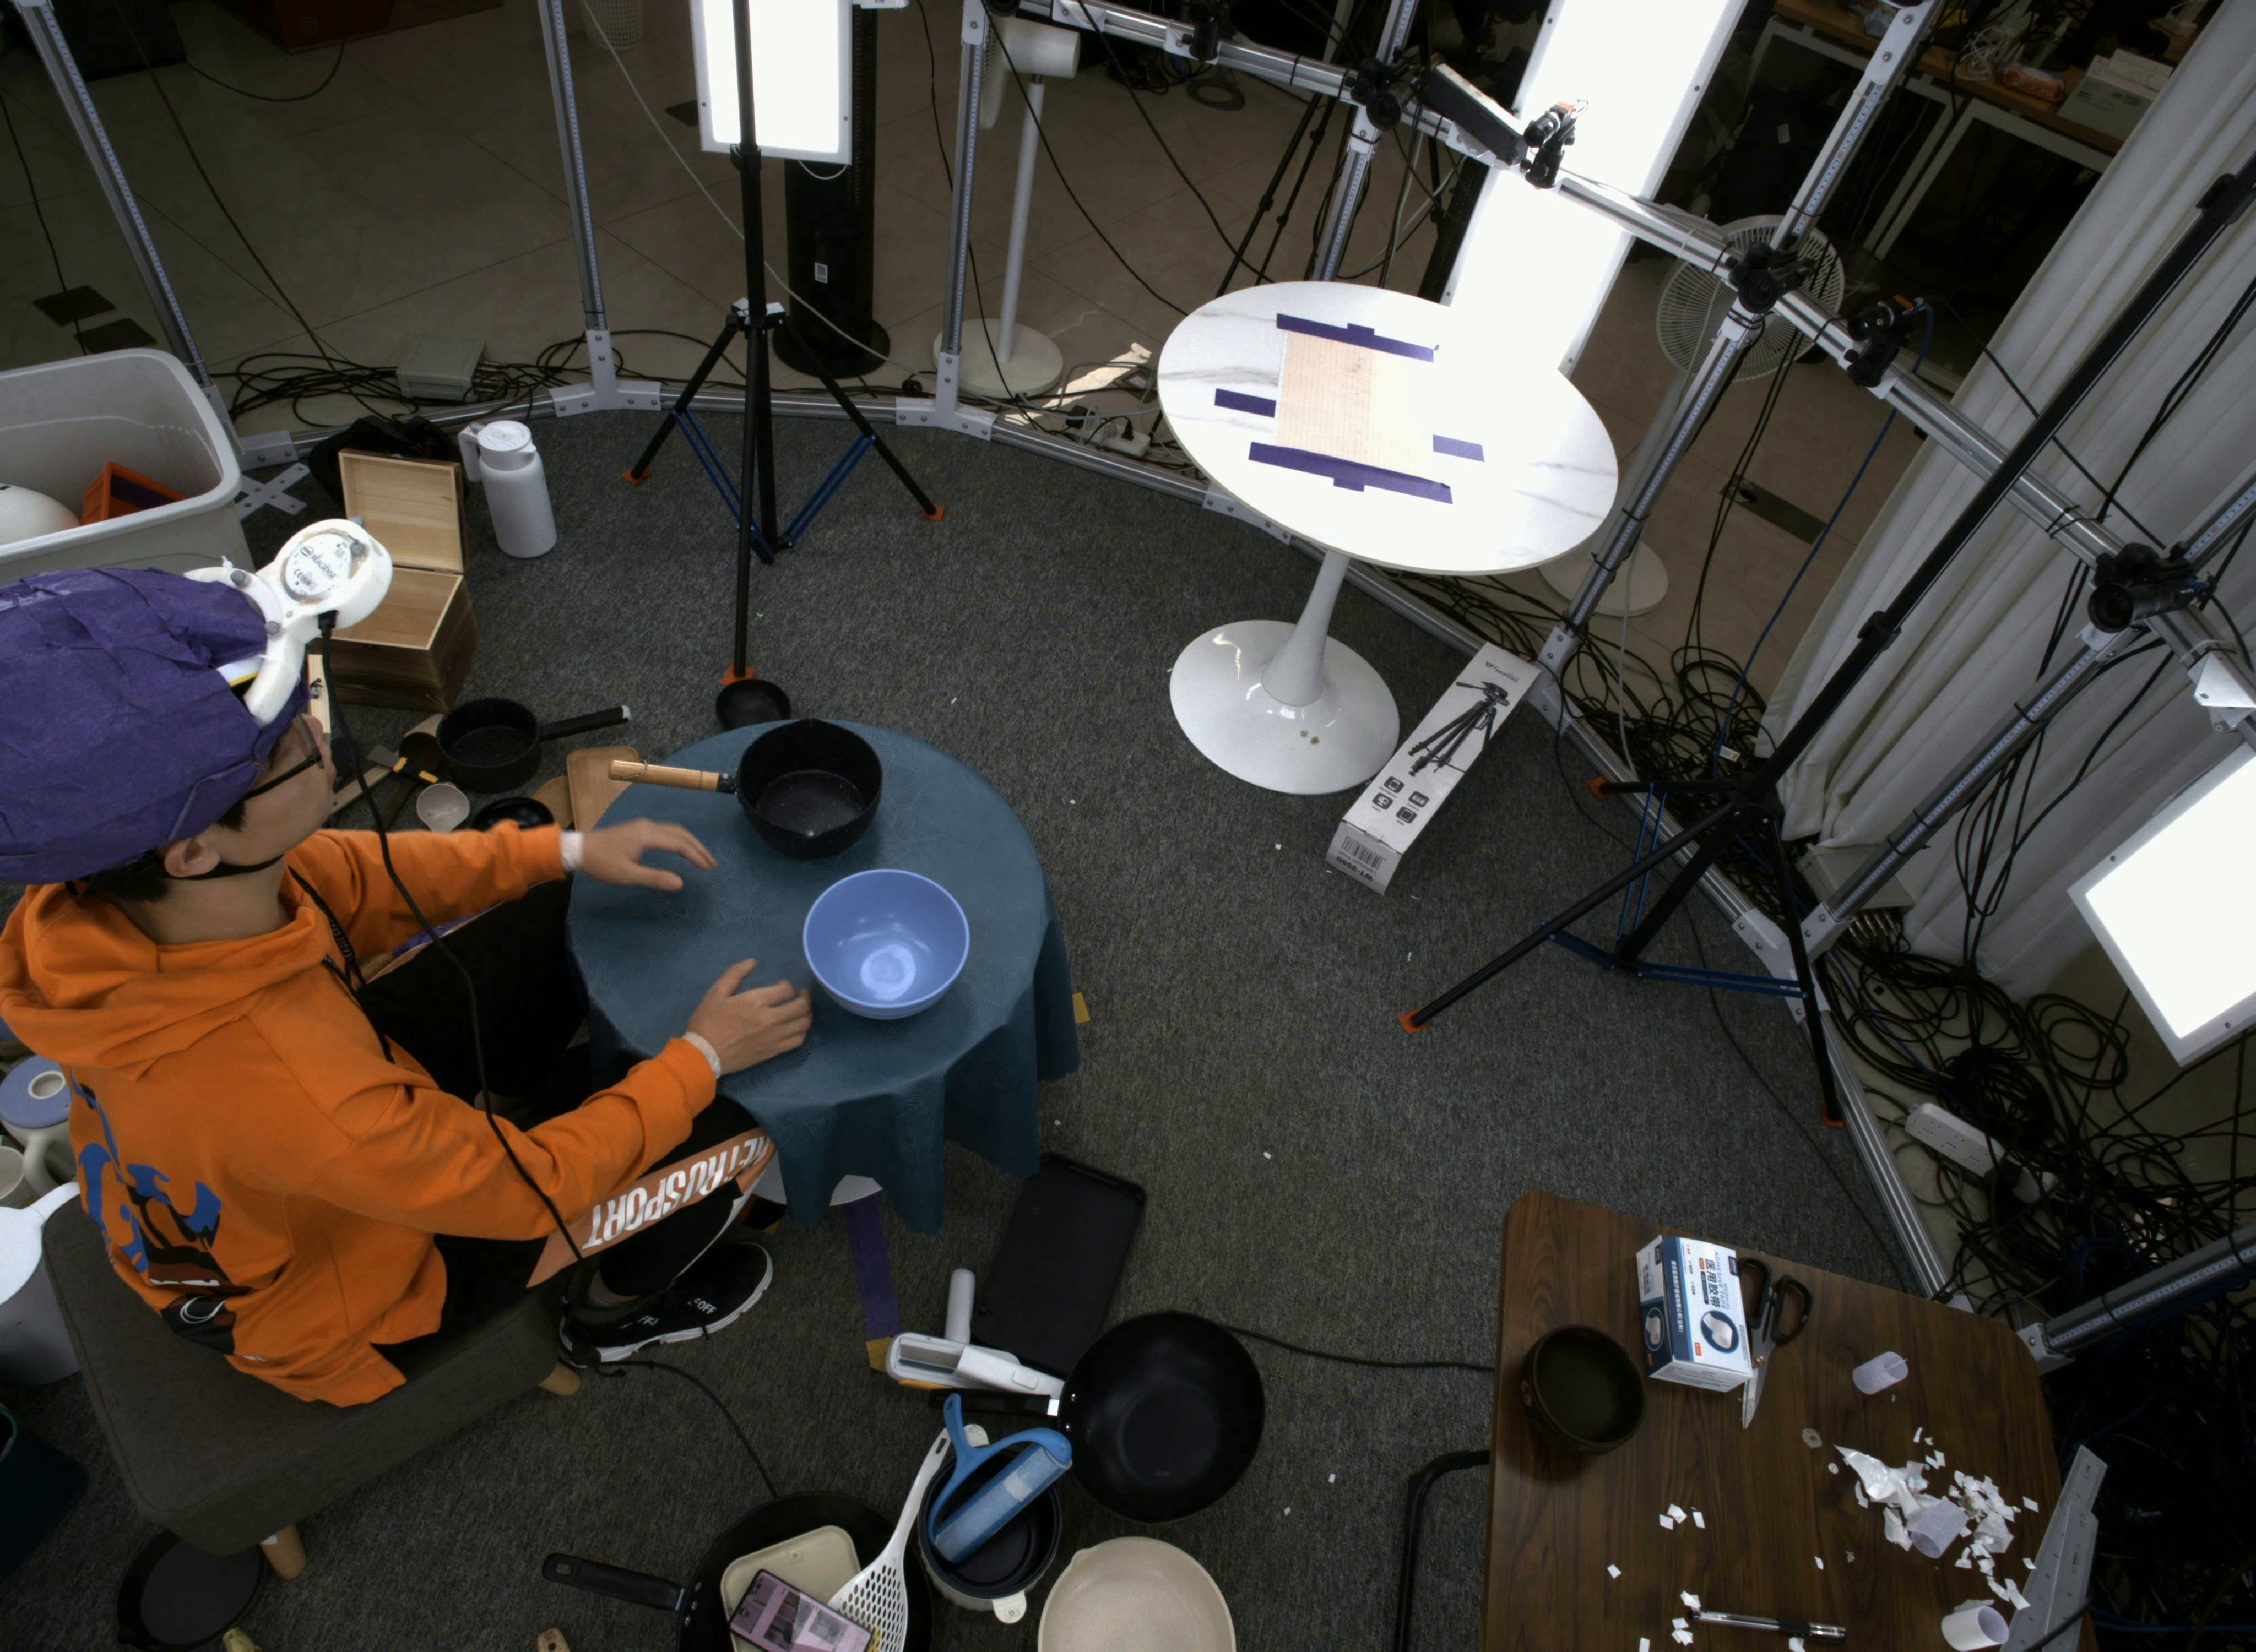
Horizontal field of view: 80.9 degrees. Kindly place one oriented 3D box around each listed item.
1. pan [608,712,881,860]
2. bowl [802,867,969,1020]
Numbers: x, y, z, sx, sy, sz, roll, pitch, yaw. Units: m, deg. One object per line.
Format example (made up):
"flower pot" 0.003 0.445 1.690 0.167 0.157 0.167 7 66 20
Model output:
"pan" -0.491 -0.047 1.661 0.344 0.110 0.203 -1 55 -17
"bowl" -0.293 0.155 1.571 0.196 0.097 0.193 8 52 -9
